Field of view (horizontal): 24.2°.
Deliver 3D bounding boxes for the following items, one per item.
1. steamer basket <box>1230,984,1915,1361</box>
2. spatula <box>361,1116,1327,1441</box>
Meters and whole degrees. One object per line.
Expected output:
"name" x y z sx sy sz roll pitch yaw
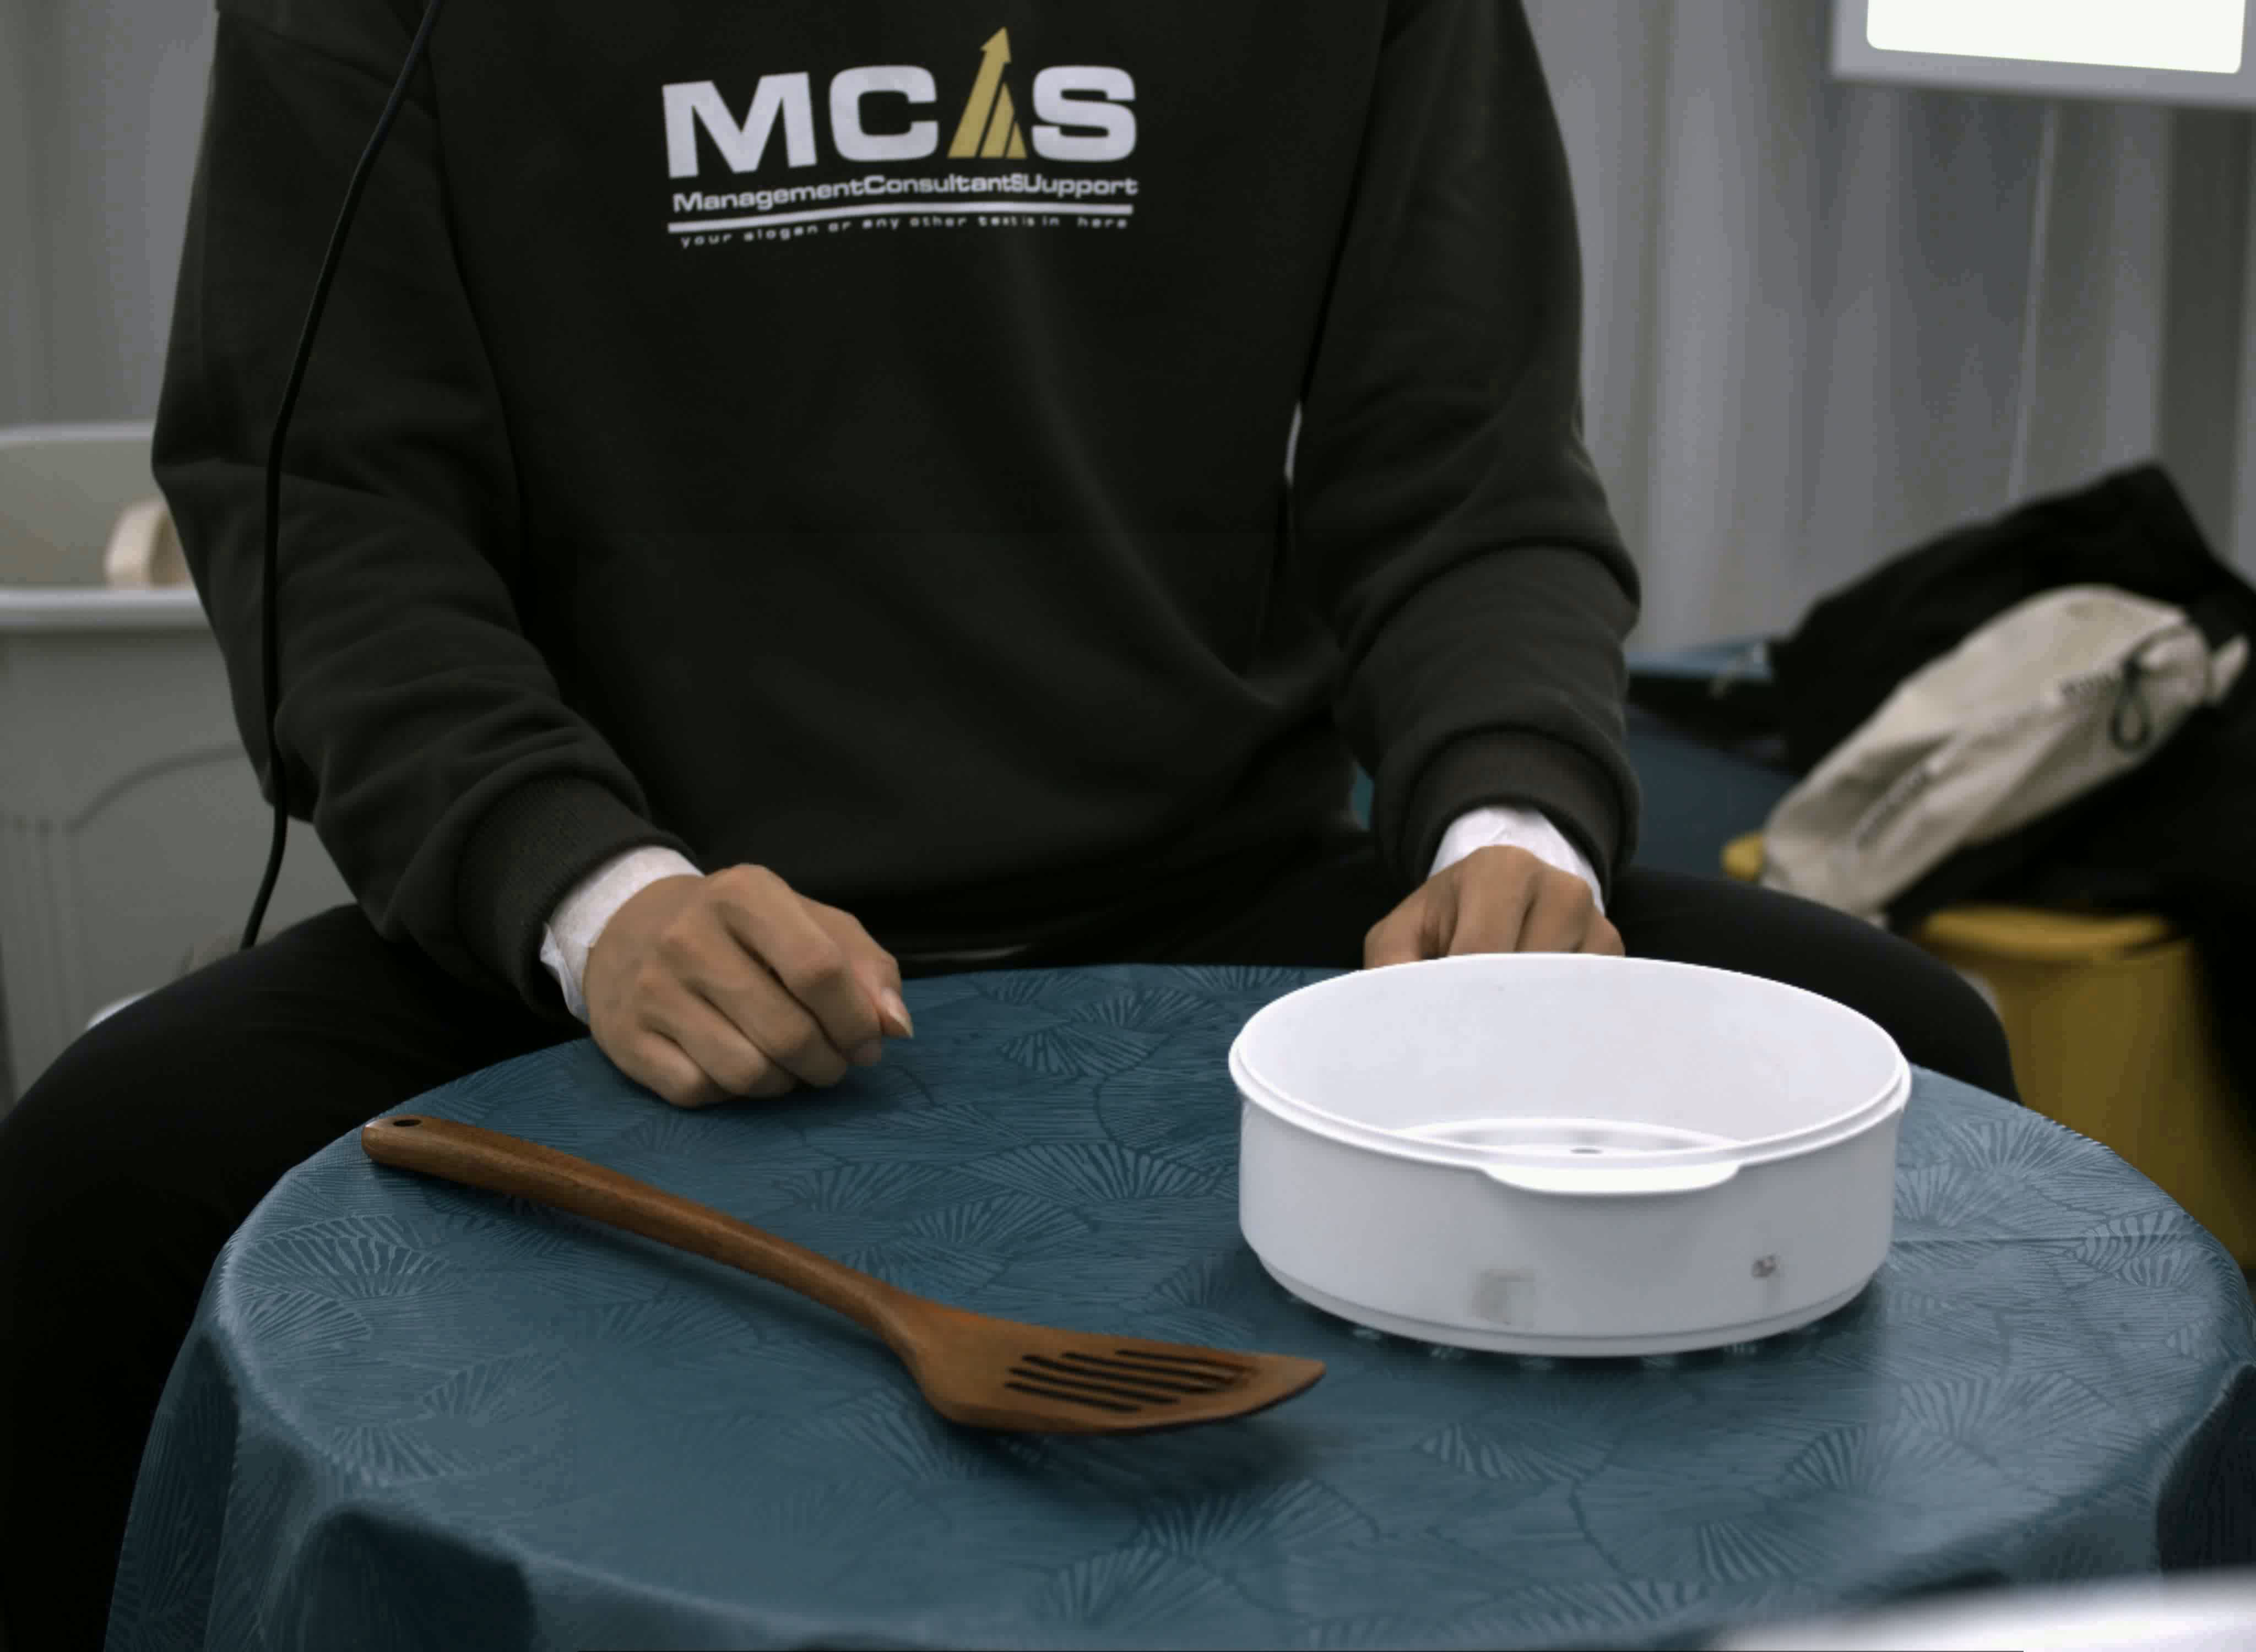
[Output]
"steamer basket" 0.129 0.101 1.553 0.201 0.070 0.229 2 12 -4
"spatula" -0.103 0.129 1.520 0.380 0.024 0.086 14 18 43
